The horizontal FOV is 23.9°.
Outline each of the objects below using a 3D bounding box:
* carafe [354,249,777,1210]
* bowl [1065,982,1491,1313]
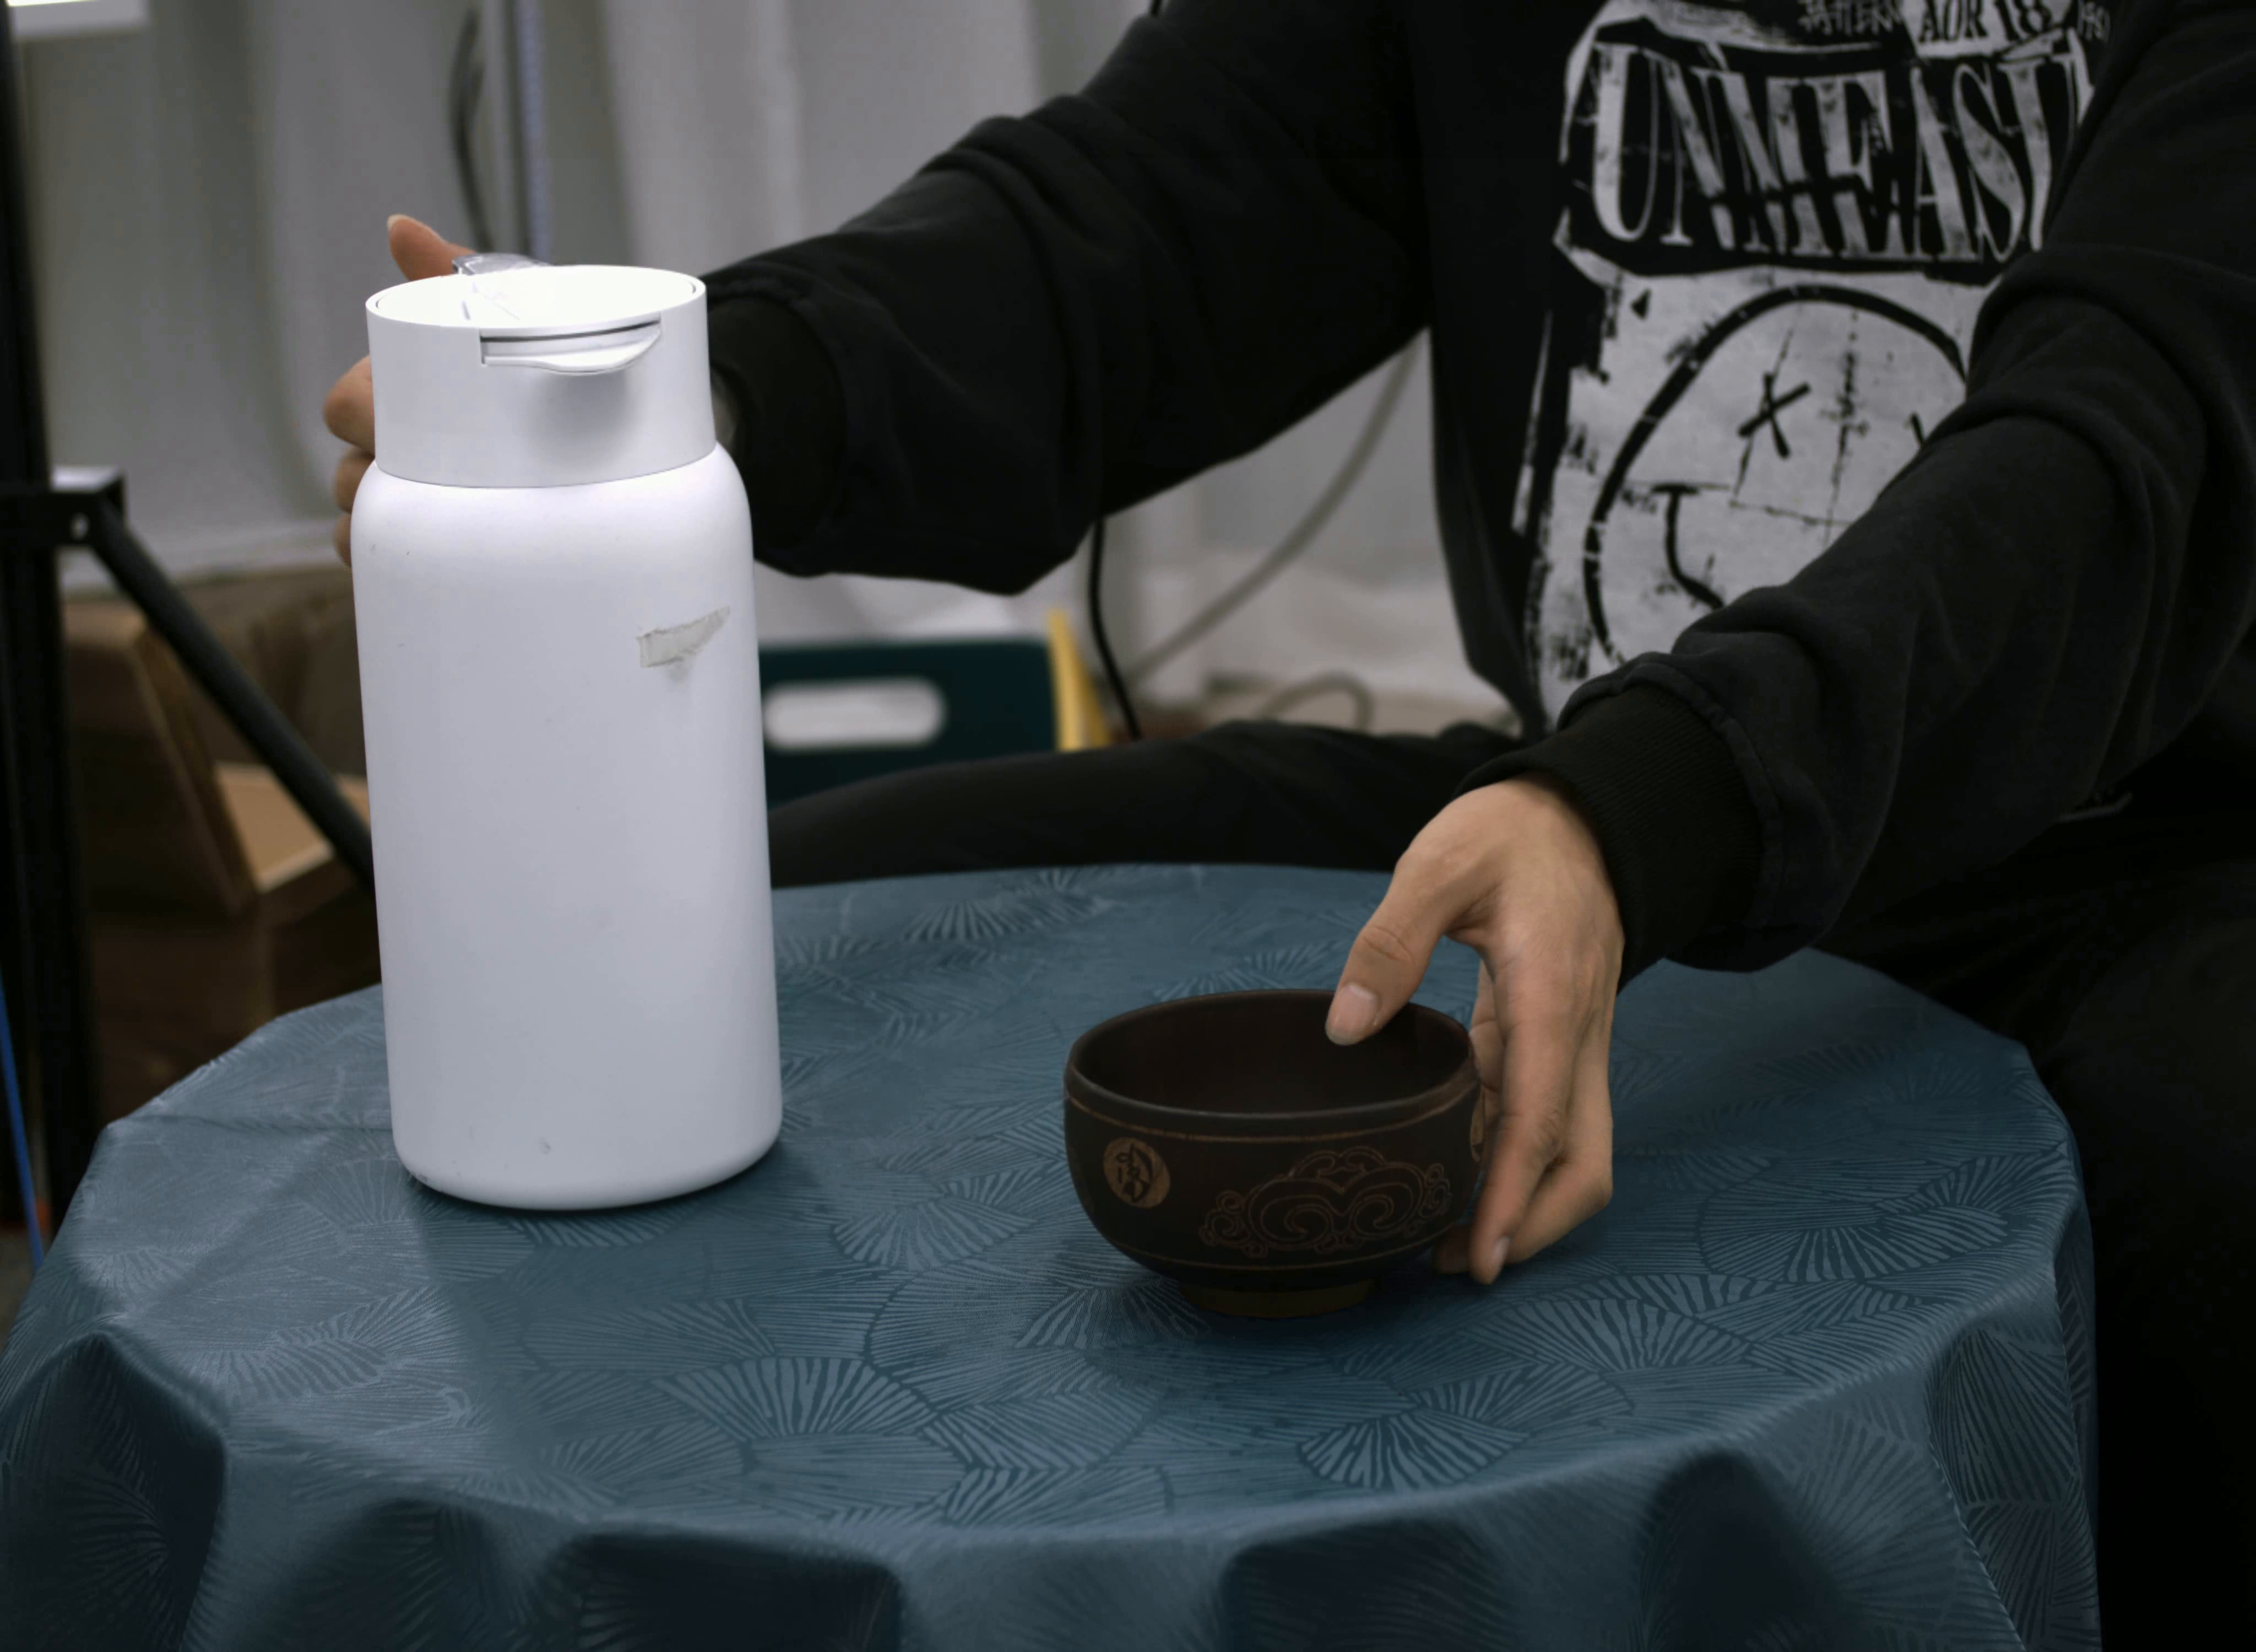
[{"bbox_3d":[-0.174,-0.032,1.592,0.122,0.269,0.176,-9,17,-19],"label":"carafe"},{"bbox_3d":[0.042,0.093,1.466,0.117,0.070,0.118,-3,15,-1],"label":"bowl"}]
